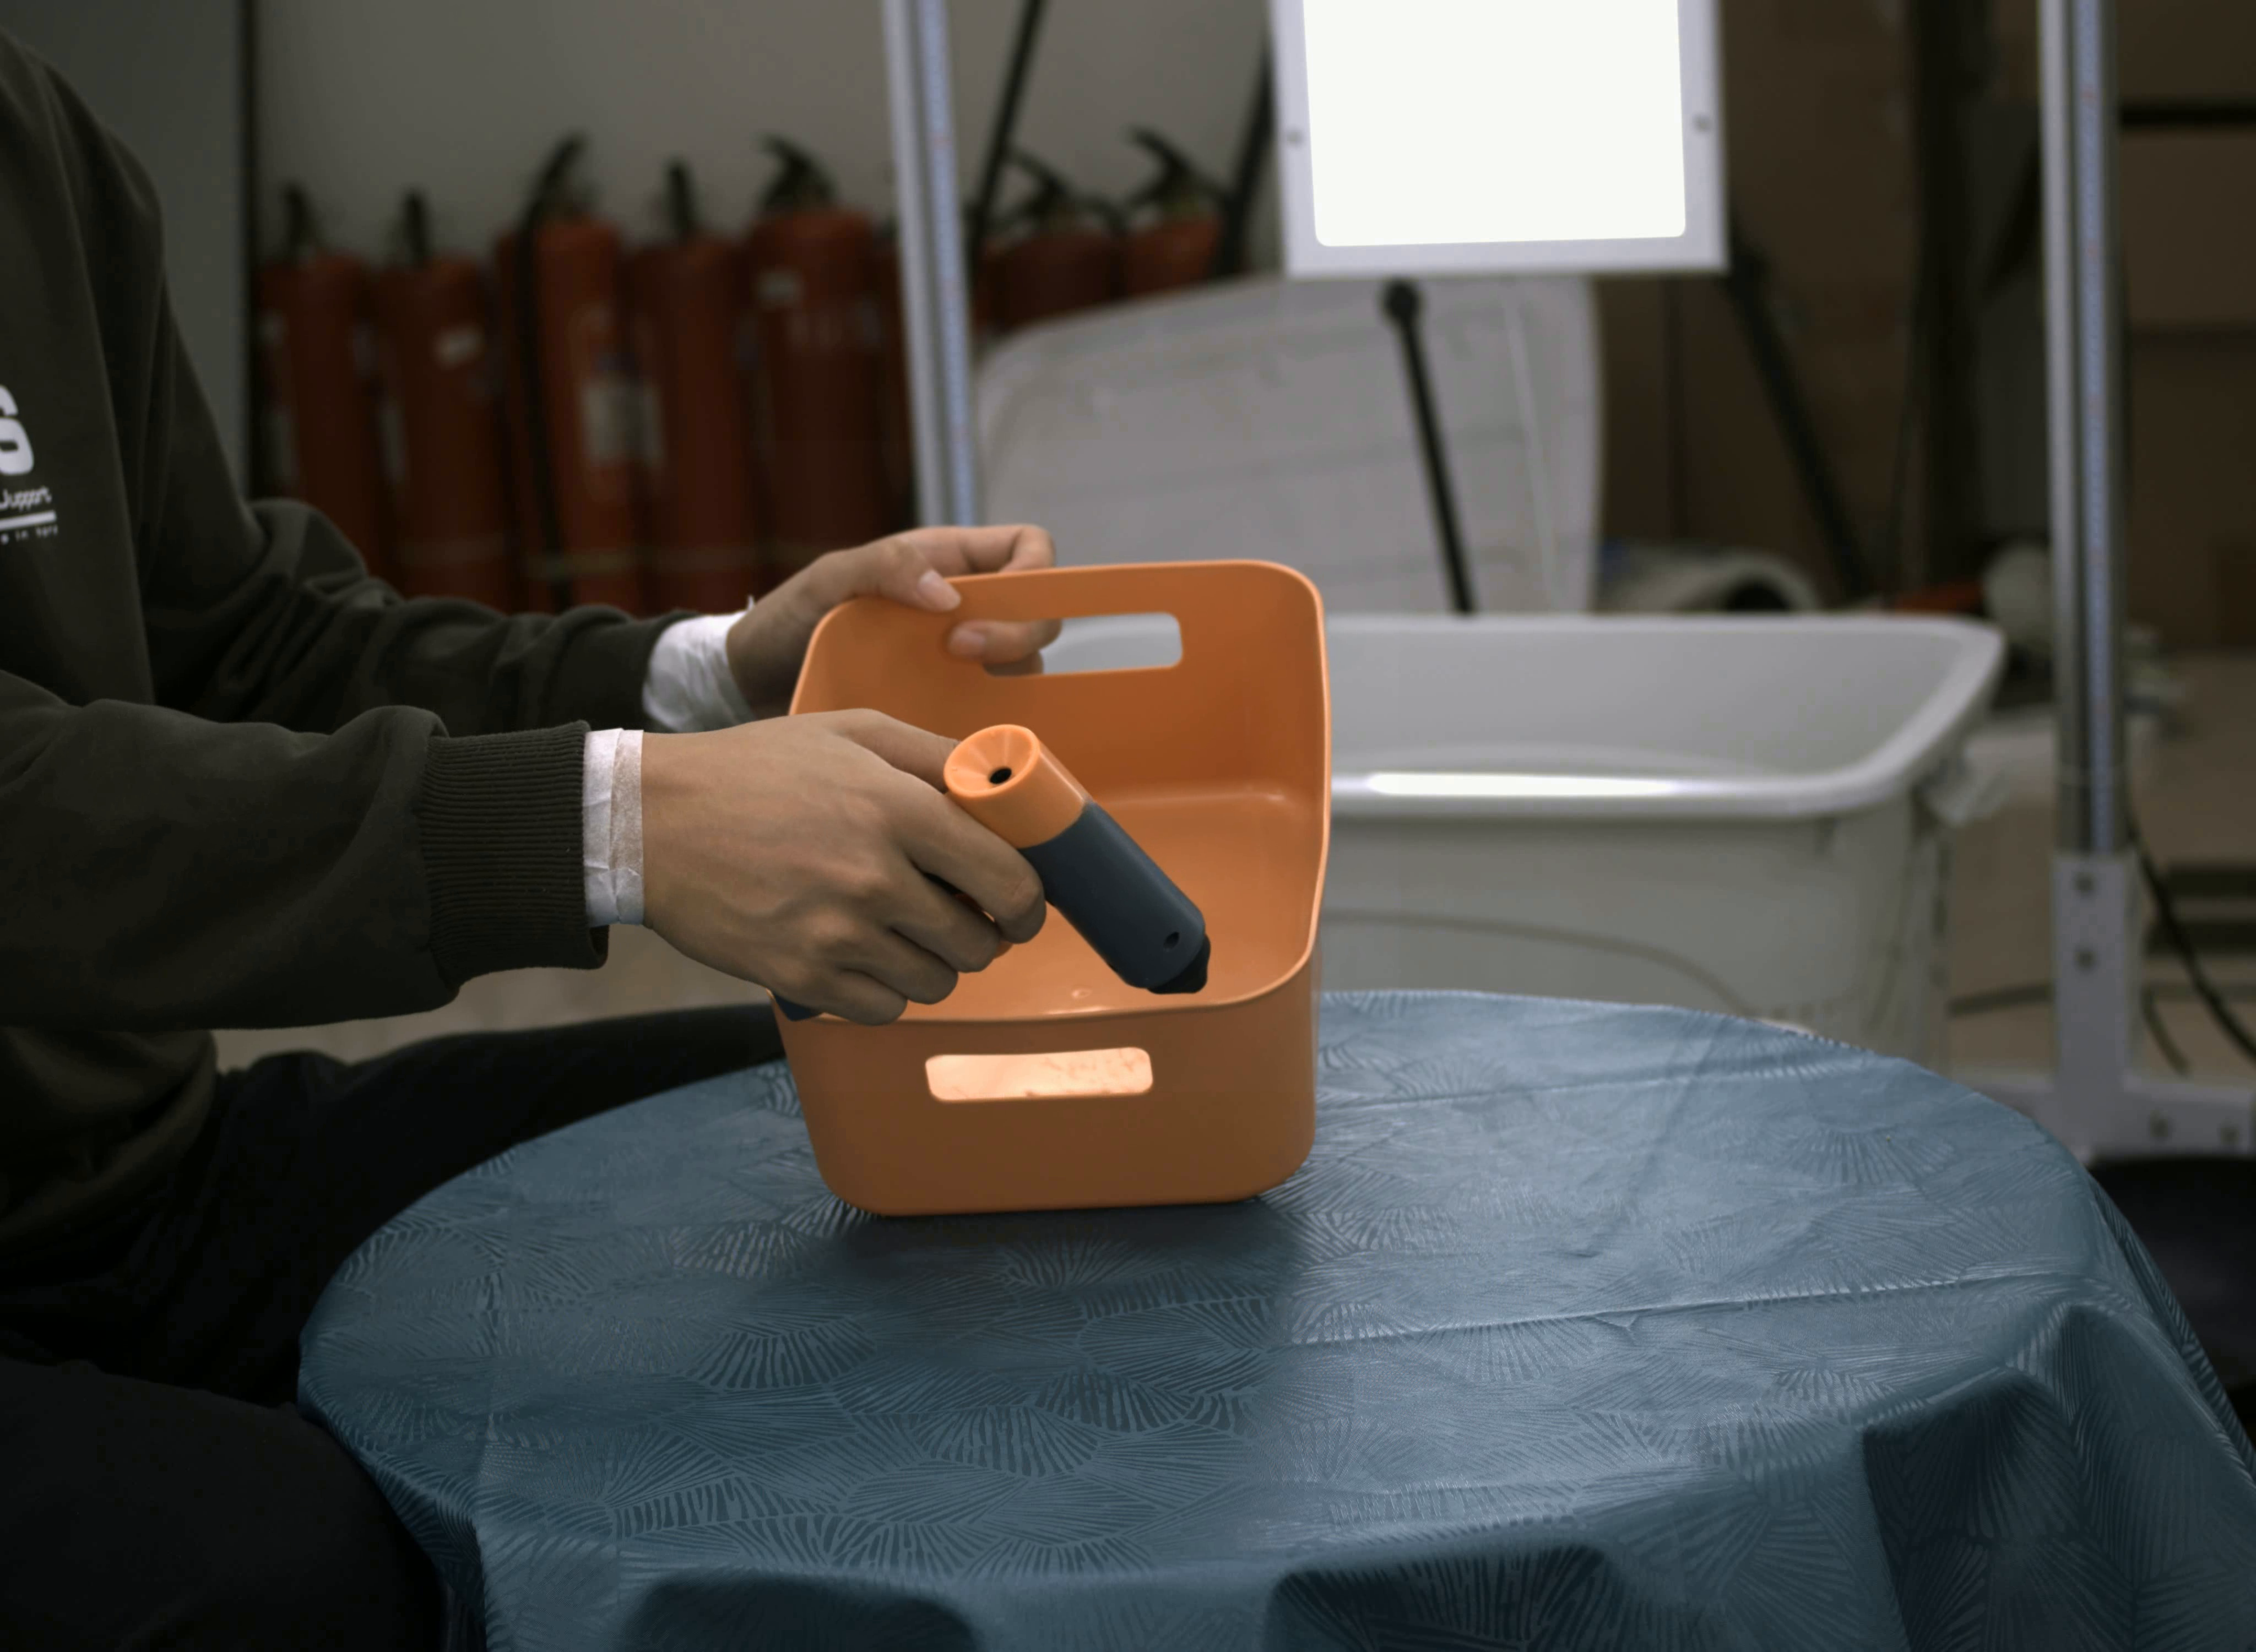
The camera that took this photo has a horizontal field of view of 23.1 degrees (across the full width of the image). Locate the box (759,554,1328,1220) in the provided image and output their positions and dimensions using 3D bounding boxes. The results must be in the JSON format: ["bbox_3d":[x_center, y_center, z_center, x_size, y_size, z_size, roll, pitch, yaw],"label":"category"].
[{"bbox_3d":[-0.022,0.023,1.956,0.200,0.103,0.271,-5,36,7],"label":"box"}]

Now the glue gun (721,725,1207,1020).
[{"bbox_3d":[-0.052,0.024,1.784,0.141,0.117,0.040,-9,42,18],"label":"glue gun"}]
